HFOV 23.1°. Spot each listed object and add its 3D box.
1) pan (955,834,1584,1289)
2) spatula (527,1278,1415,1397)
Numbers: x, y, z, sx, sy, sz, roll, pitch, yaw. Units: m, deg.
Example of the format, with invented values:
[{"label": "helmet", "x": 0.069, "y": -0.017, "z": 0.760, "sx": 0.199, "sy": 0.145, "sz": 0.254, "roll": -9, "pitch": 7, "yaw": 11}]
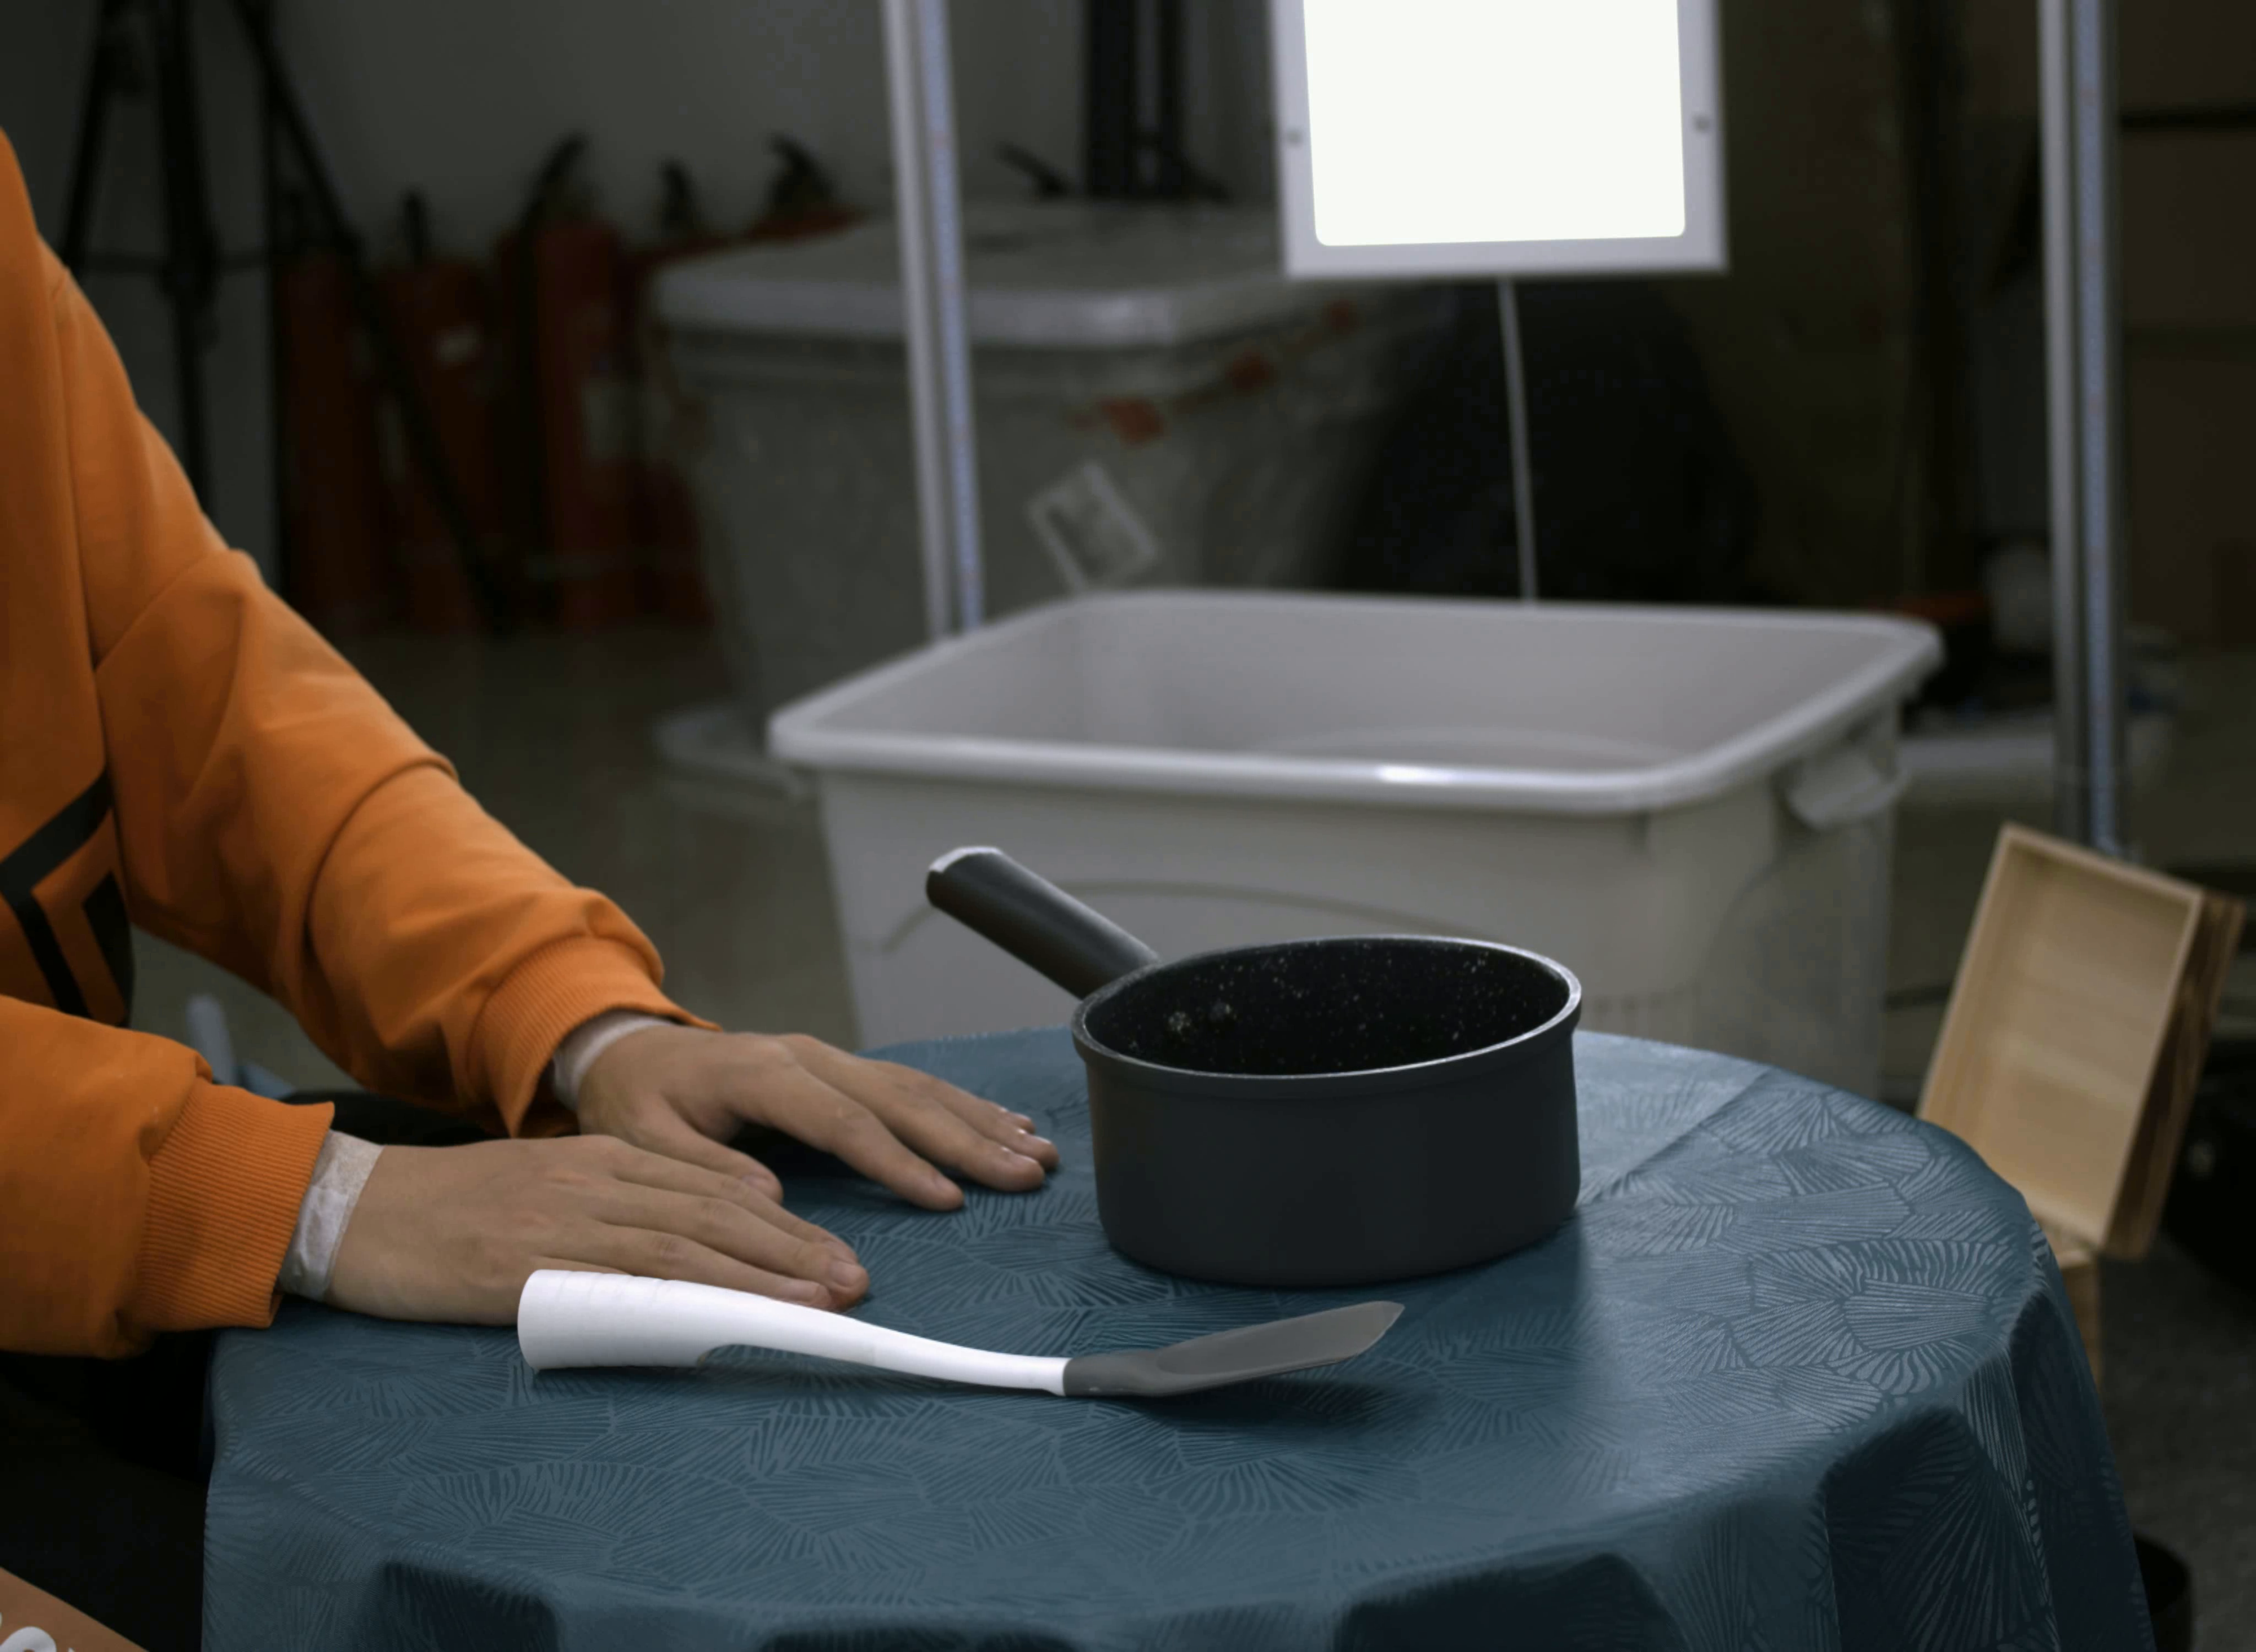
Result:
[{"label": "pan", "x": 0.029, "y": 0.077, "z": 1.909, "sx": 0.168, "sy": 0.087, "sz": 0.334, "roll": -11, "pitch": 16, "yaw": -27}, {"label": "spatula", "x": -0.051, "y": 0.160, "z": 1.714, "sx": 0.292, "sy": 0.032, "sz": 0.057, "roll": 0, "pitch": 10, "yaw": 22}]
